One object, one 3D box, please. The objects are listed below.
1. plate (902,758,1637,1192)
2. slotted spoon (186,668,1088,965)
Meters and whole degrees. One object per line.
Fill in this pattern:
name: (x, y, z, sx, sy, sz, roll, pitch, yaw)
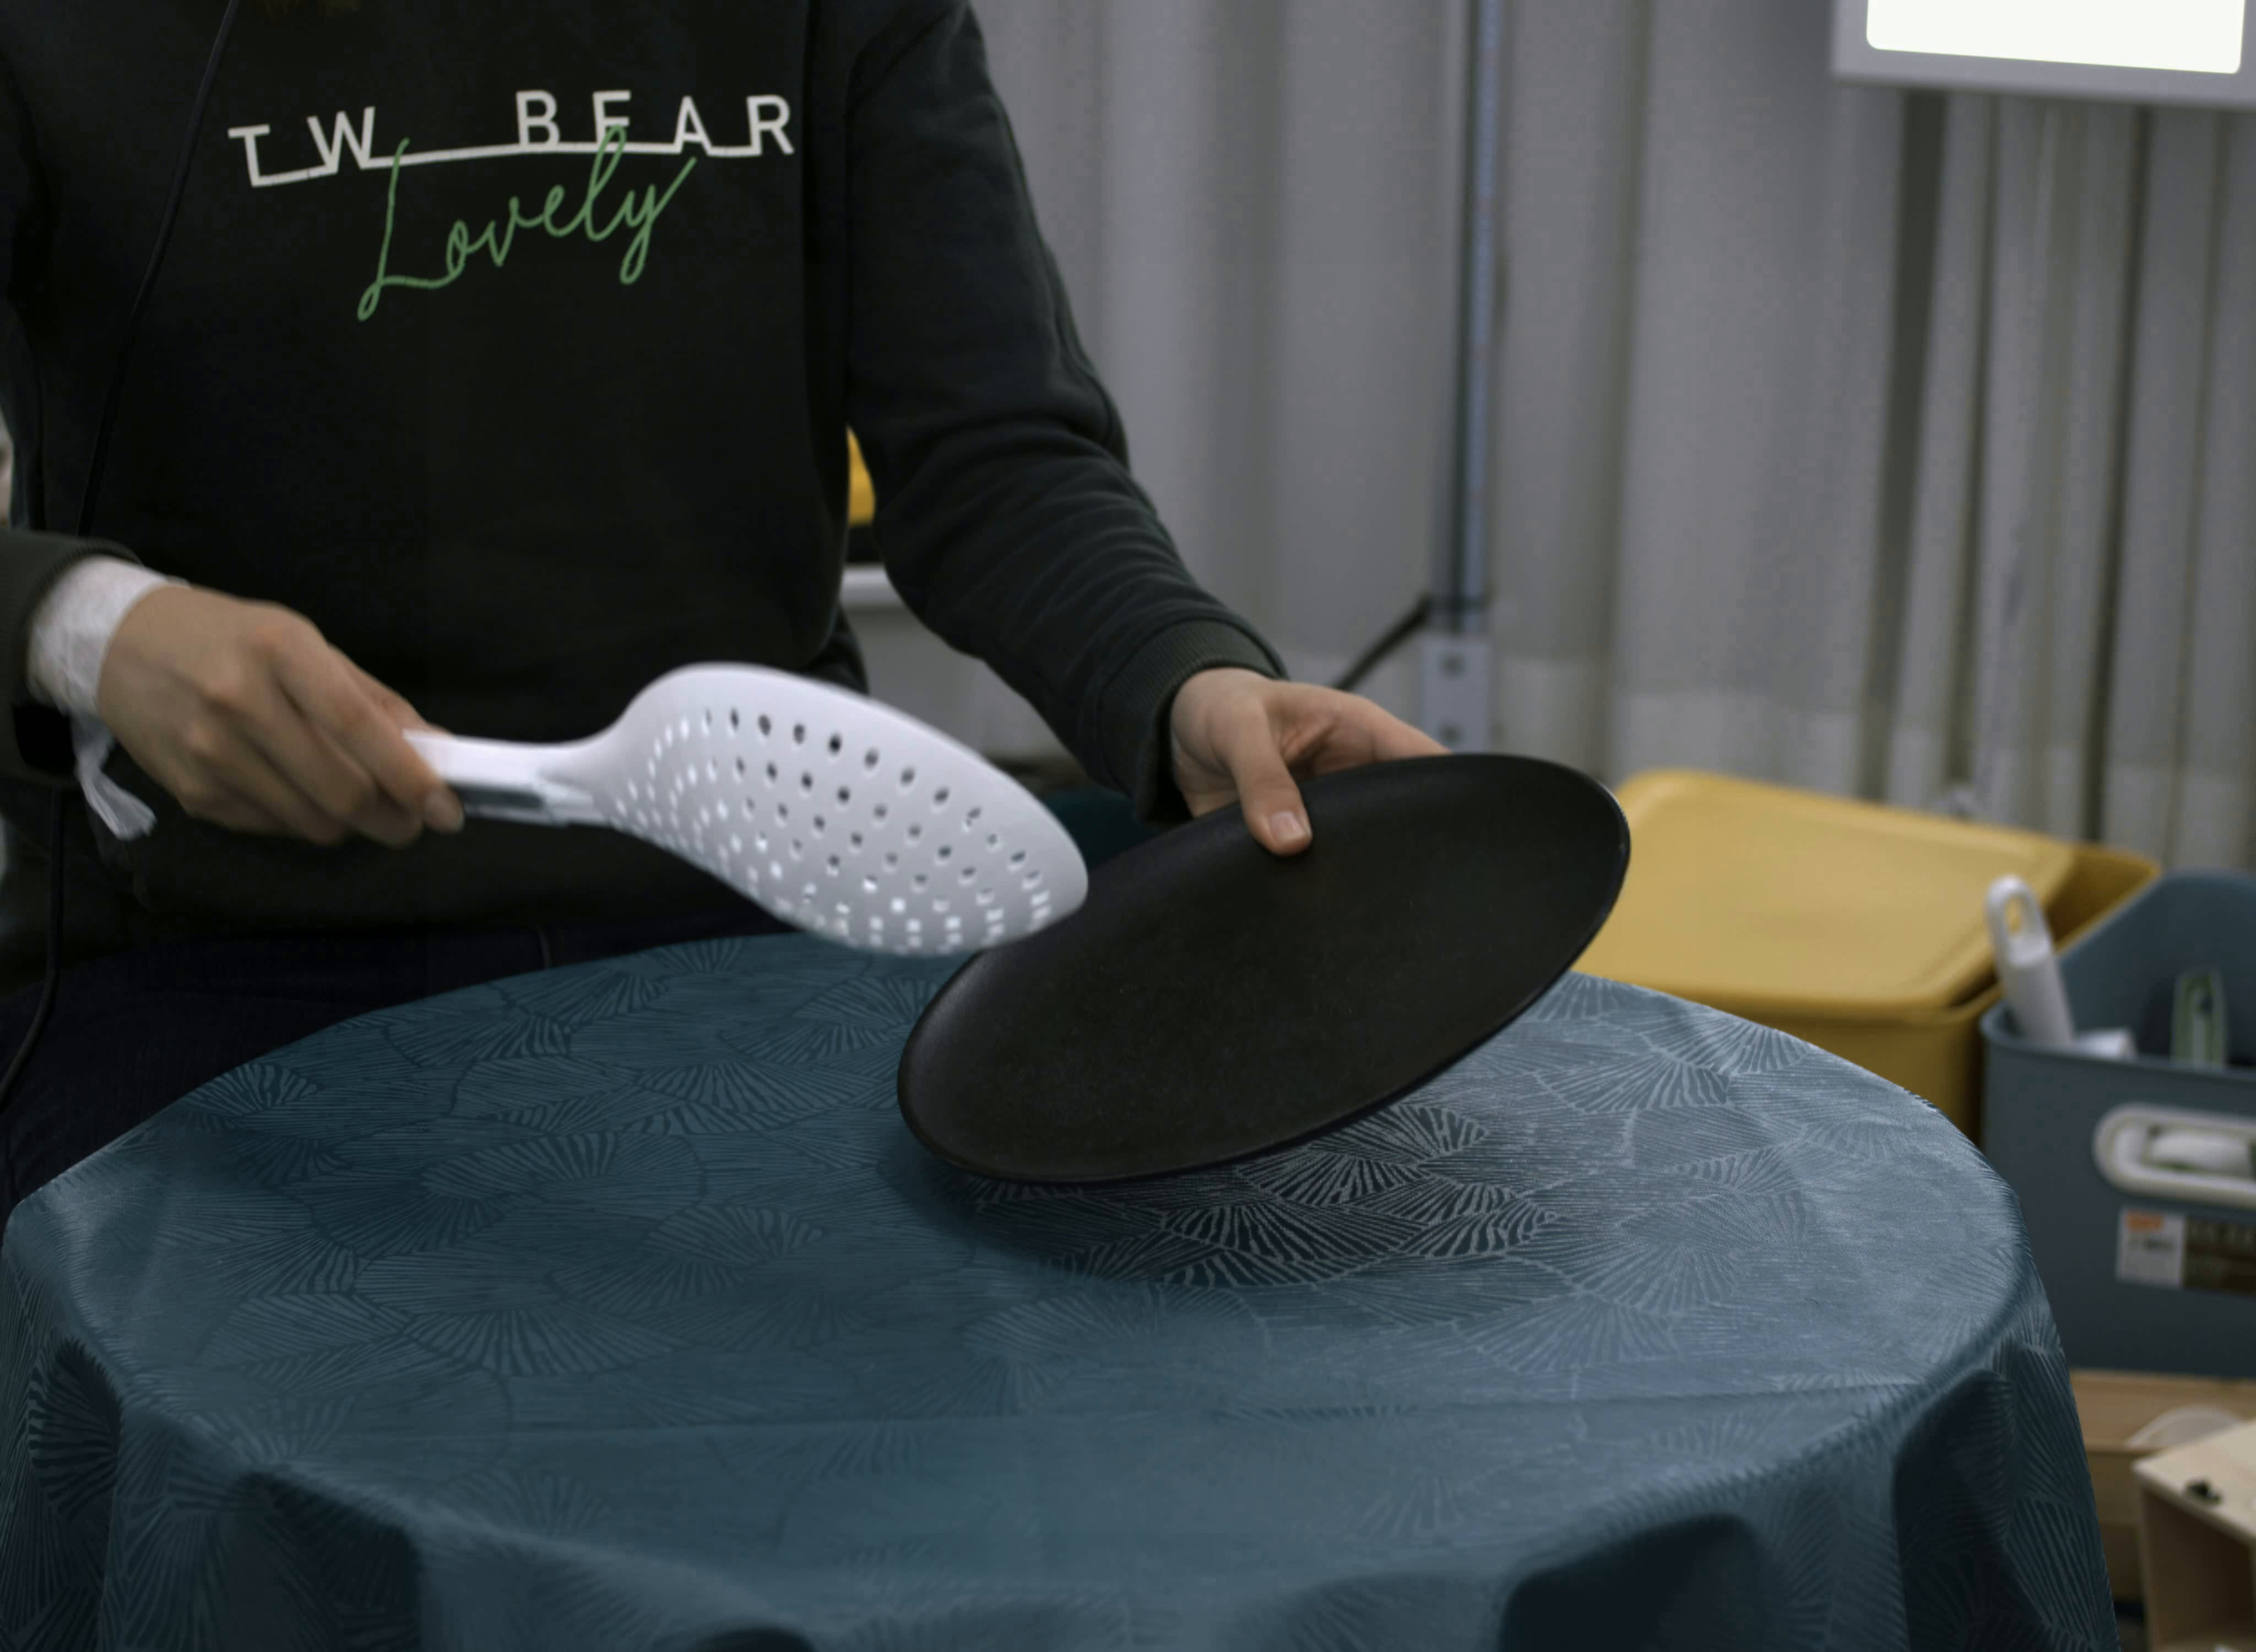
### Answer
plate: (0.045, 0.051, 1.638, 0.243, 0.024, 0.242, -18, 24, 9)
slotted spoon: (-0.158, -0.008, 1.553, 0.345, 0.045, 0.138, 11, -24, 41)
